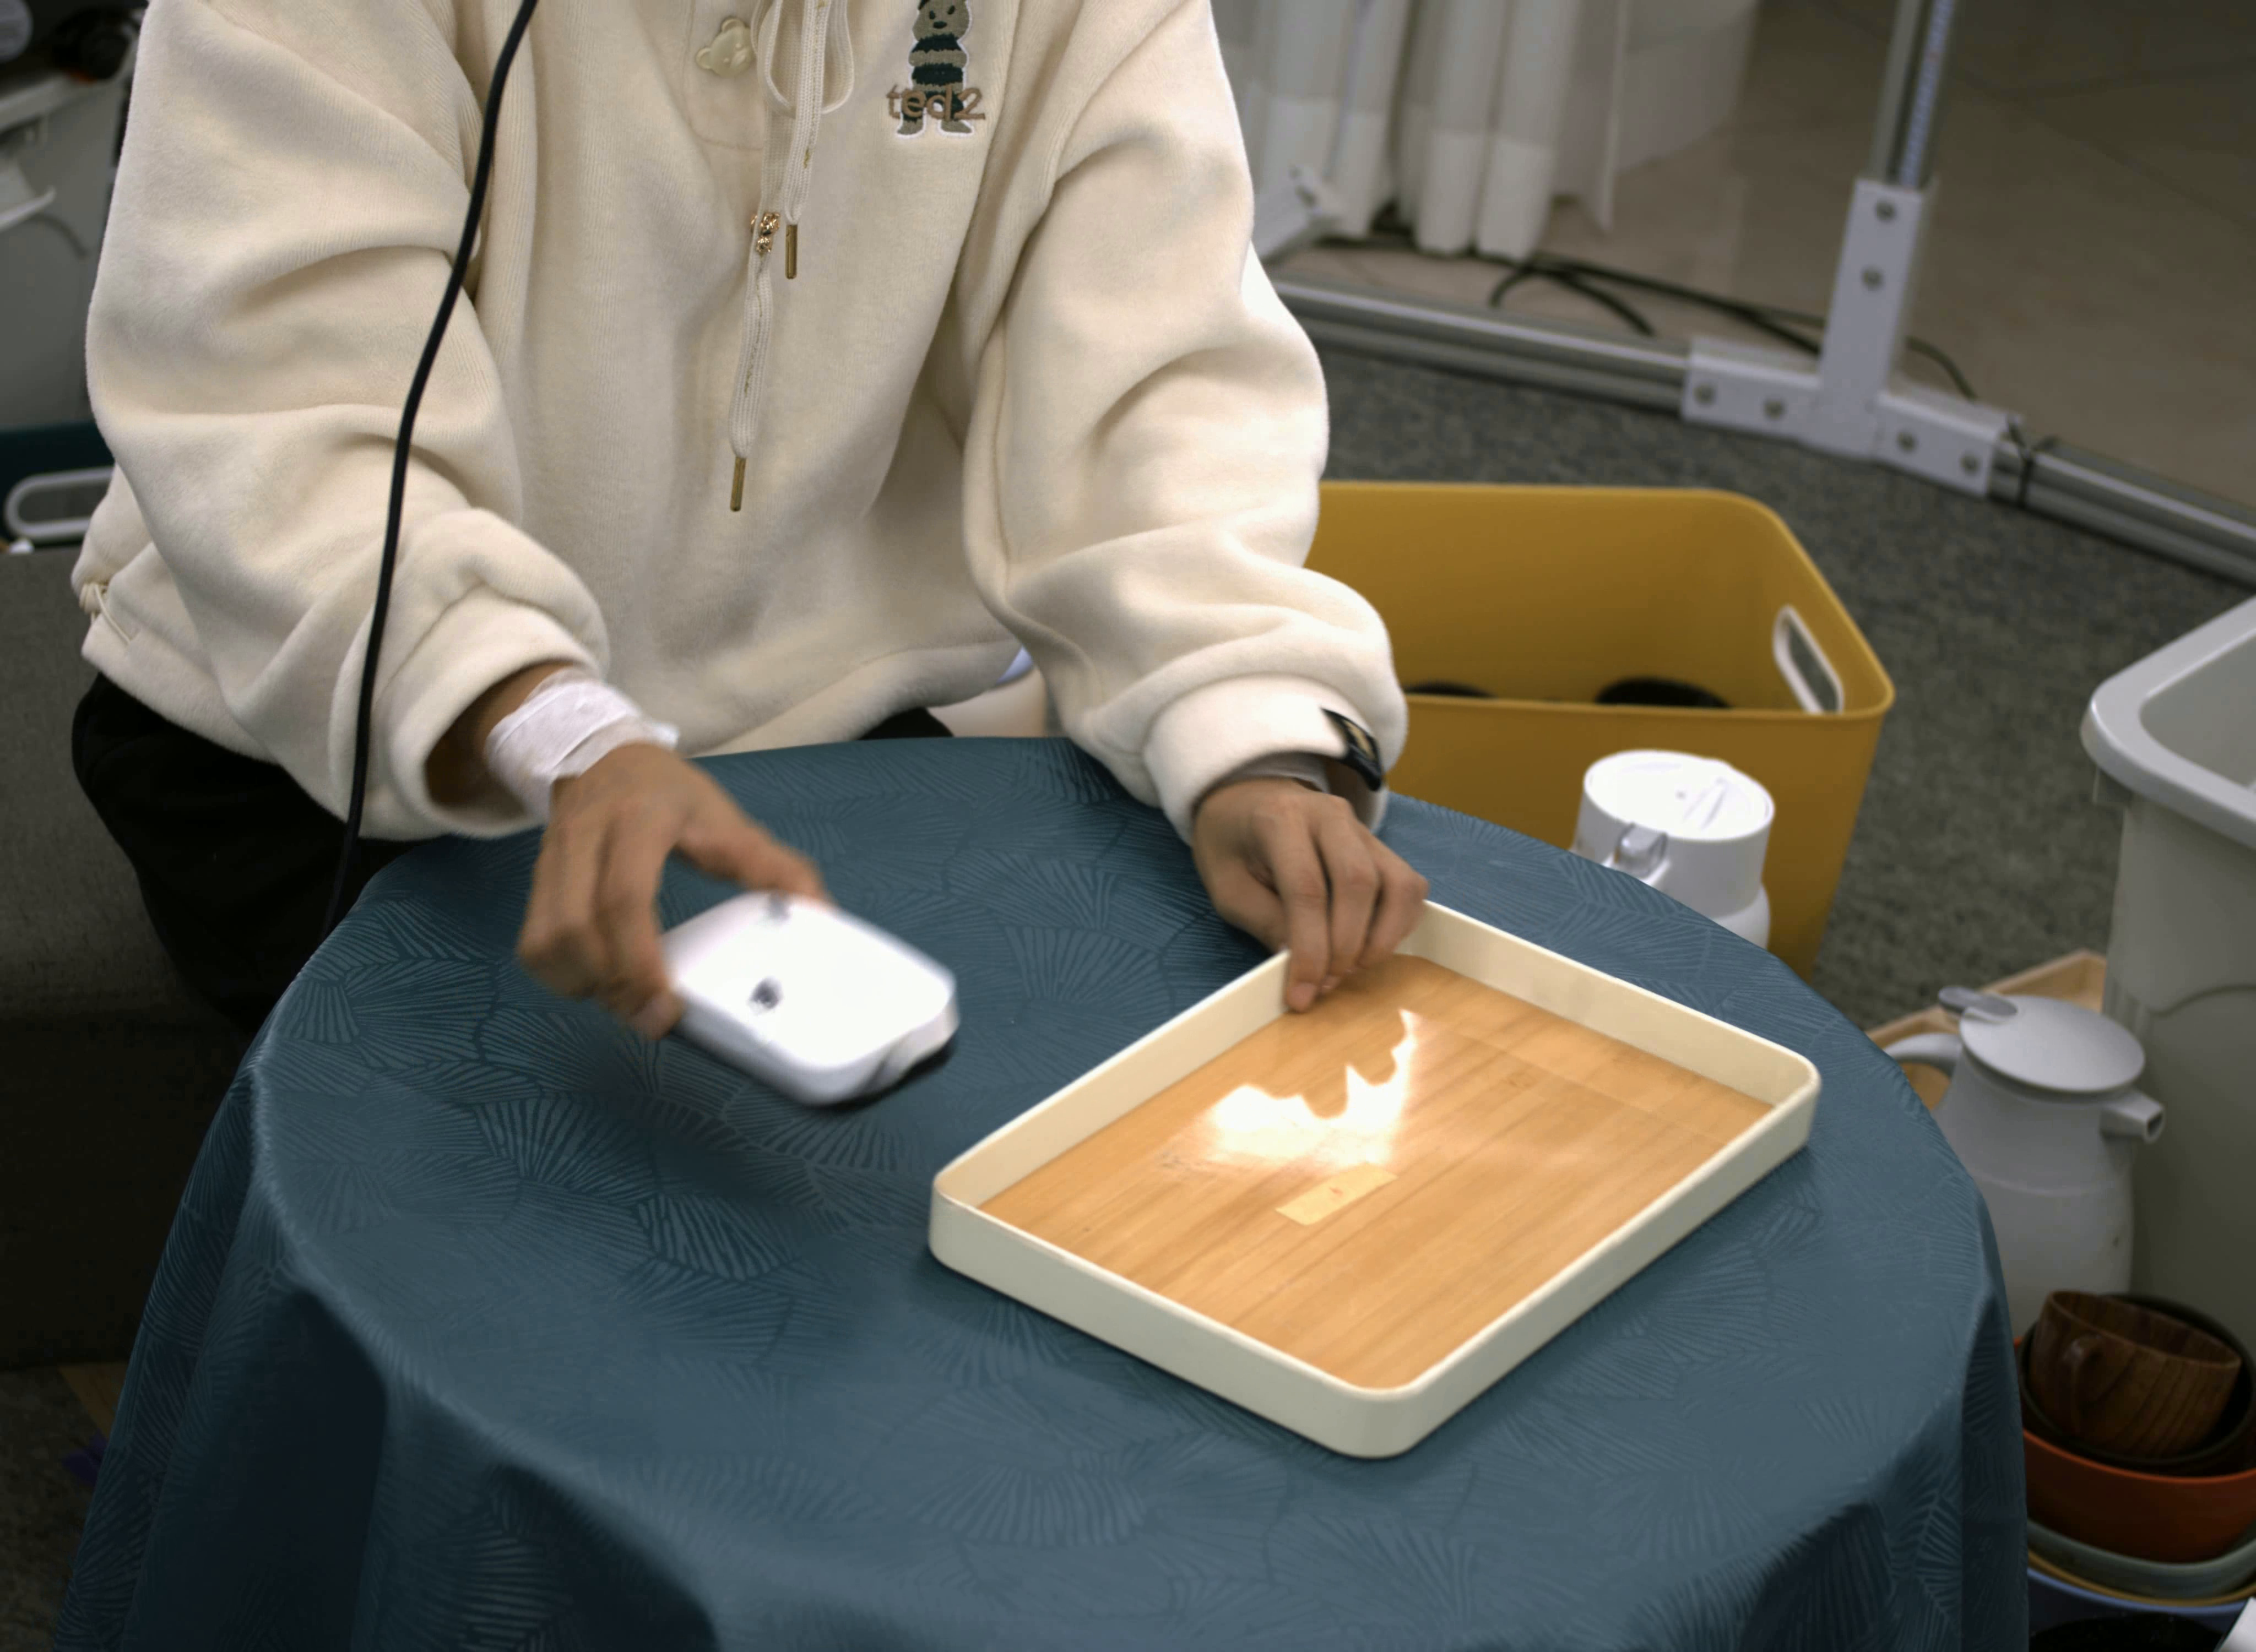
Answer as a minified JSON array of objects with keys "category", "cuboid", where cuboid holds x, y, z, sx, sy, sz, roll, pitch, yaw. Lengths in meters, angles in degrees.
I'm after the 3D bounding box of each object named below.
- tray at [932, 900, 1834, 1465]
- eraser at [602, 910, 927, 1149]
[{"category":"tray","cuboid":[0.091,0.115,1.811,0.193,0.027,0.299,23,31,29]},{"category":"eraser","cuboid":[-0.119,0.063,1.760,0.063,0.034,0.132,-25,31,-26]}]
